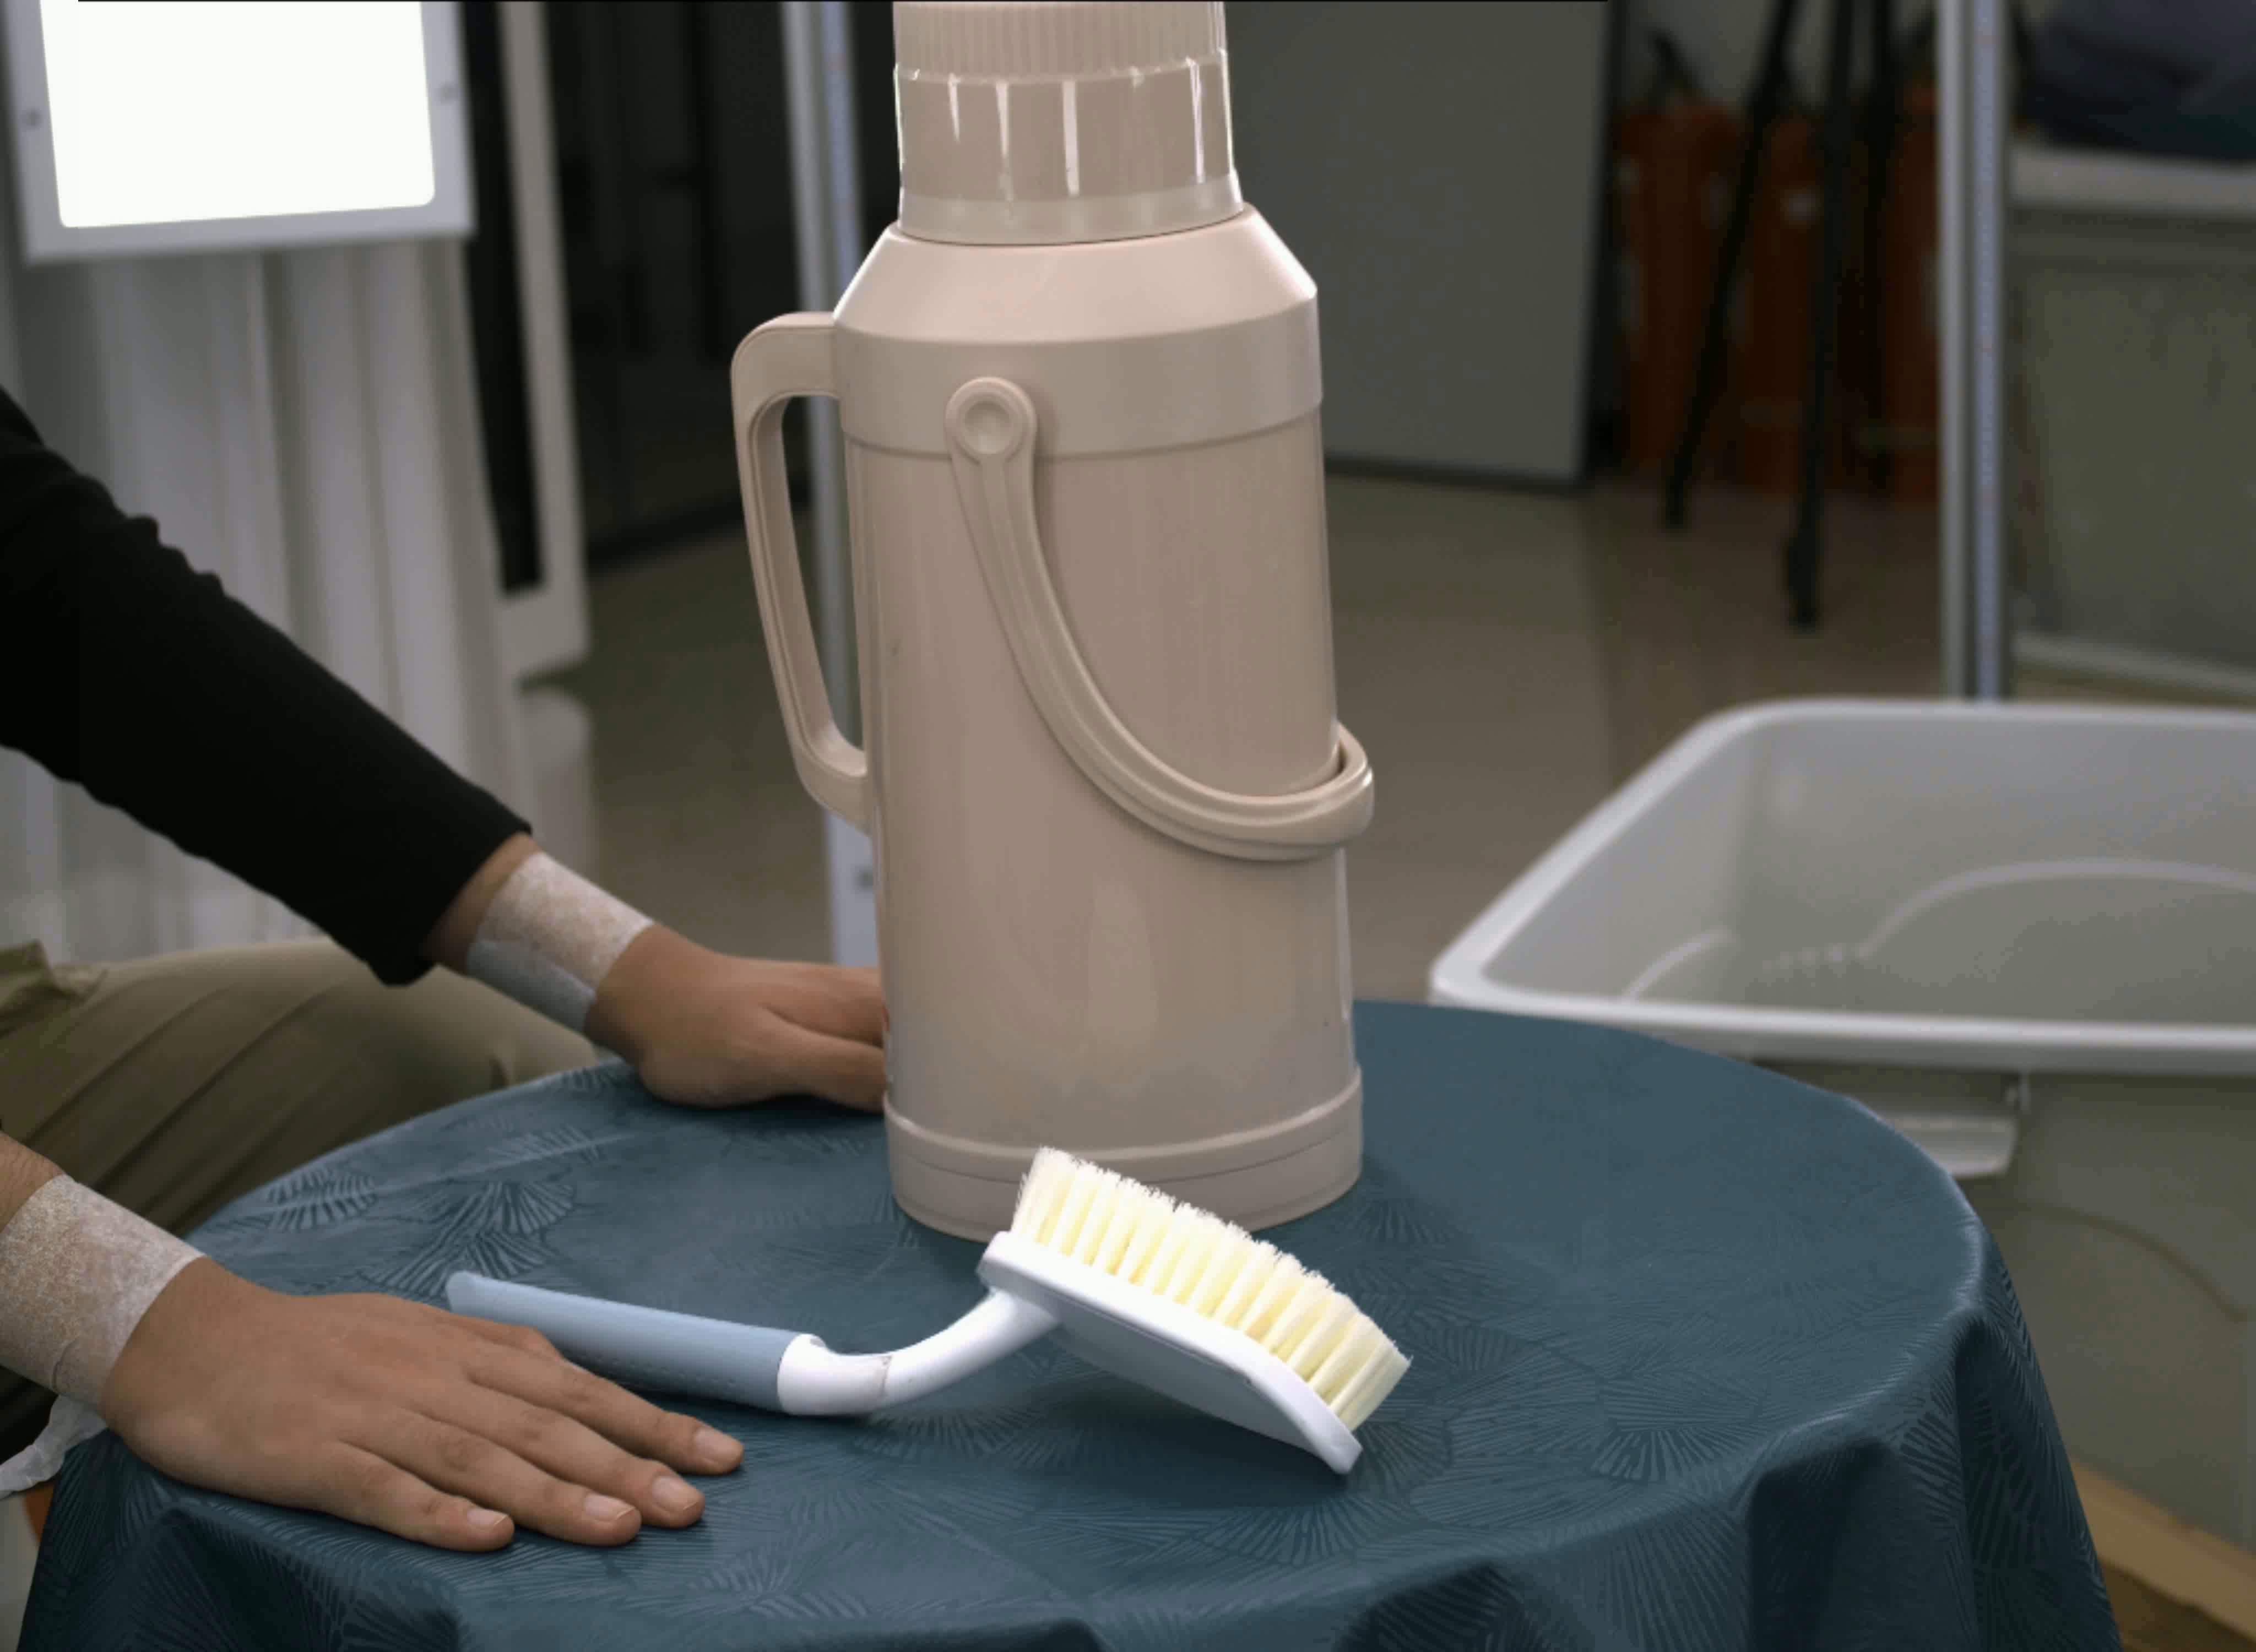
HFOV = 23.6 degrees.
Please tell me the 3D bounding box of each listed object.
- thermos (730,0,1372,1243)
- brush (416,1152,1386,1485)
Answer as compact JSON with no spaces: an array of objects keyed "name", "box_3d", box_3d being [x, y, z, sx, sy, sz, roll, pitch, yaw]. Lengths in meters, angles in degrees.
[{"name":"thermos","box_3d":[-0.025,-0.078,1.749,0.206,0.411,0.174,1,16,19]},{"name":"brush","box_3d":[-0.069,0.129,1.585,0.327,0.084,0.083,6,23,31]}]
